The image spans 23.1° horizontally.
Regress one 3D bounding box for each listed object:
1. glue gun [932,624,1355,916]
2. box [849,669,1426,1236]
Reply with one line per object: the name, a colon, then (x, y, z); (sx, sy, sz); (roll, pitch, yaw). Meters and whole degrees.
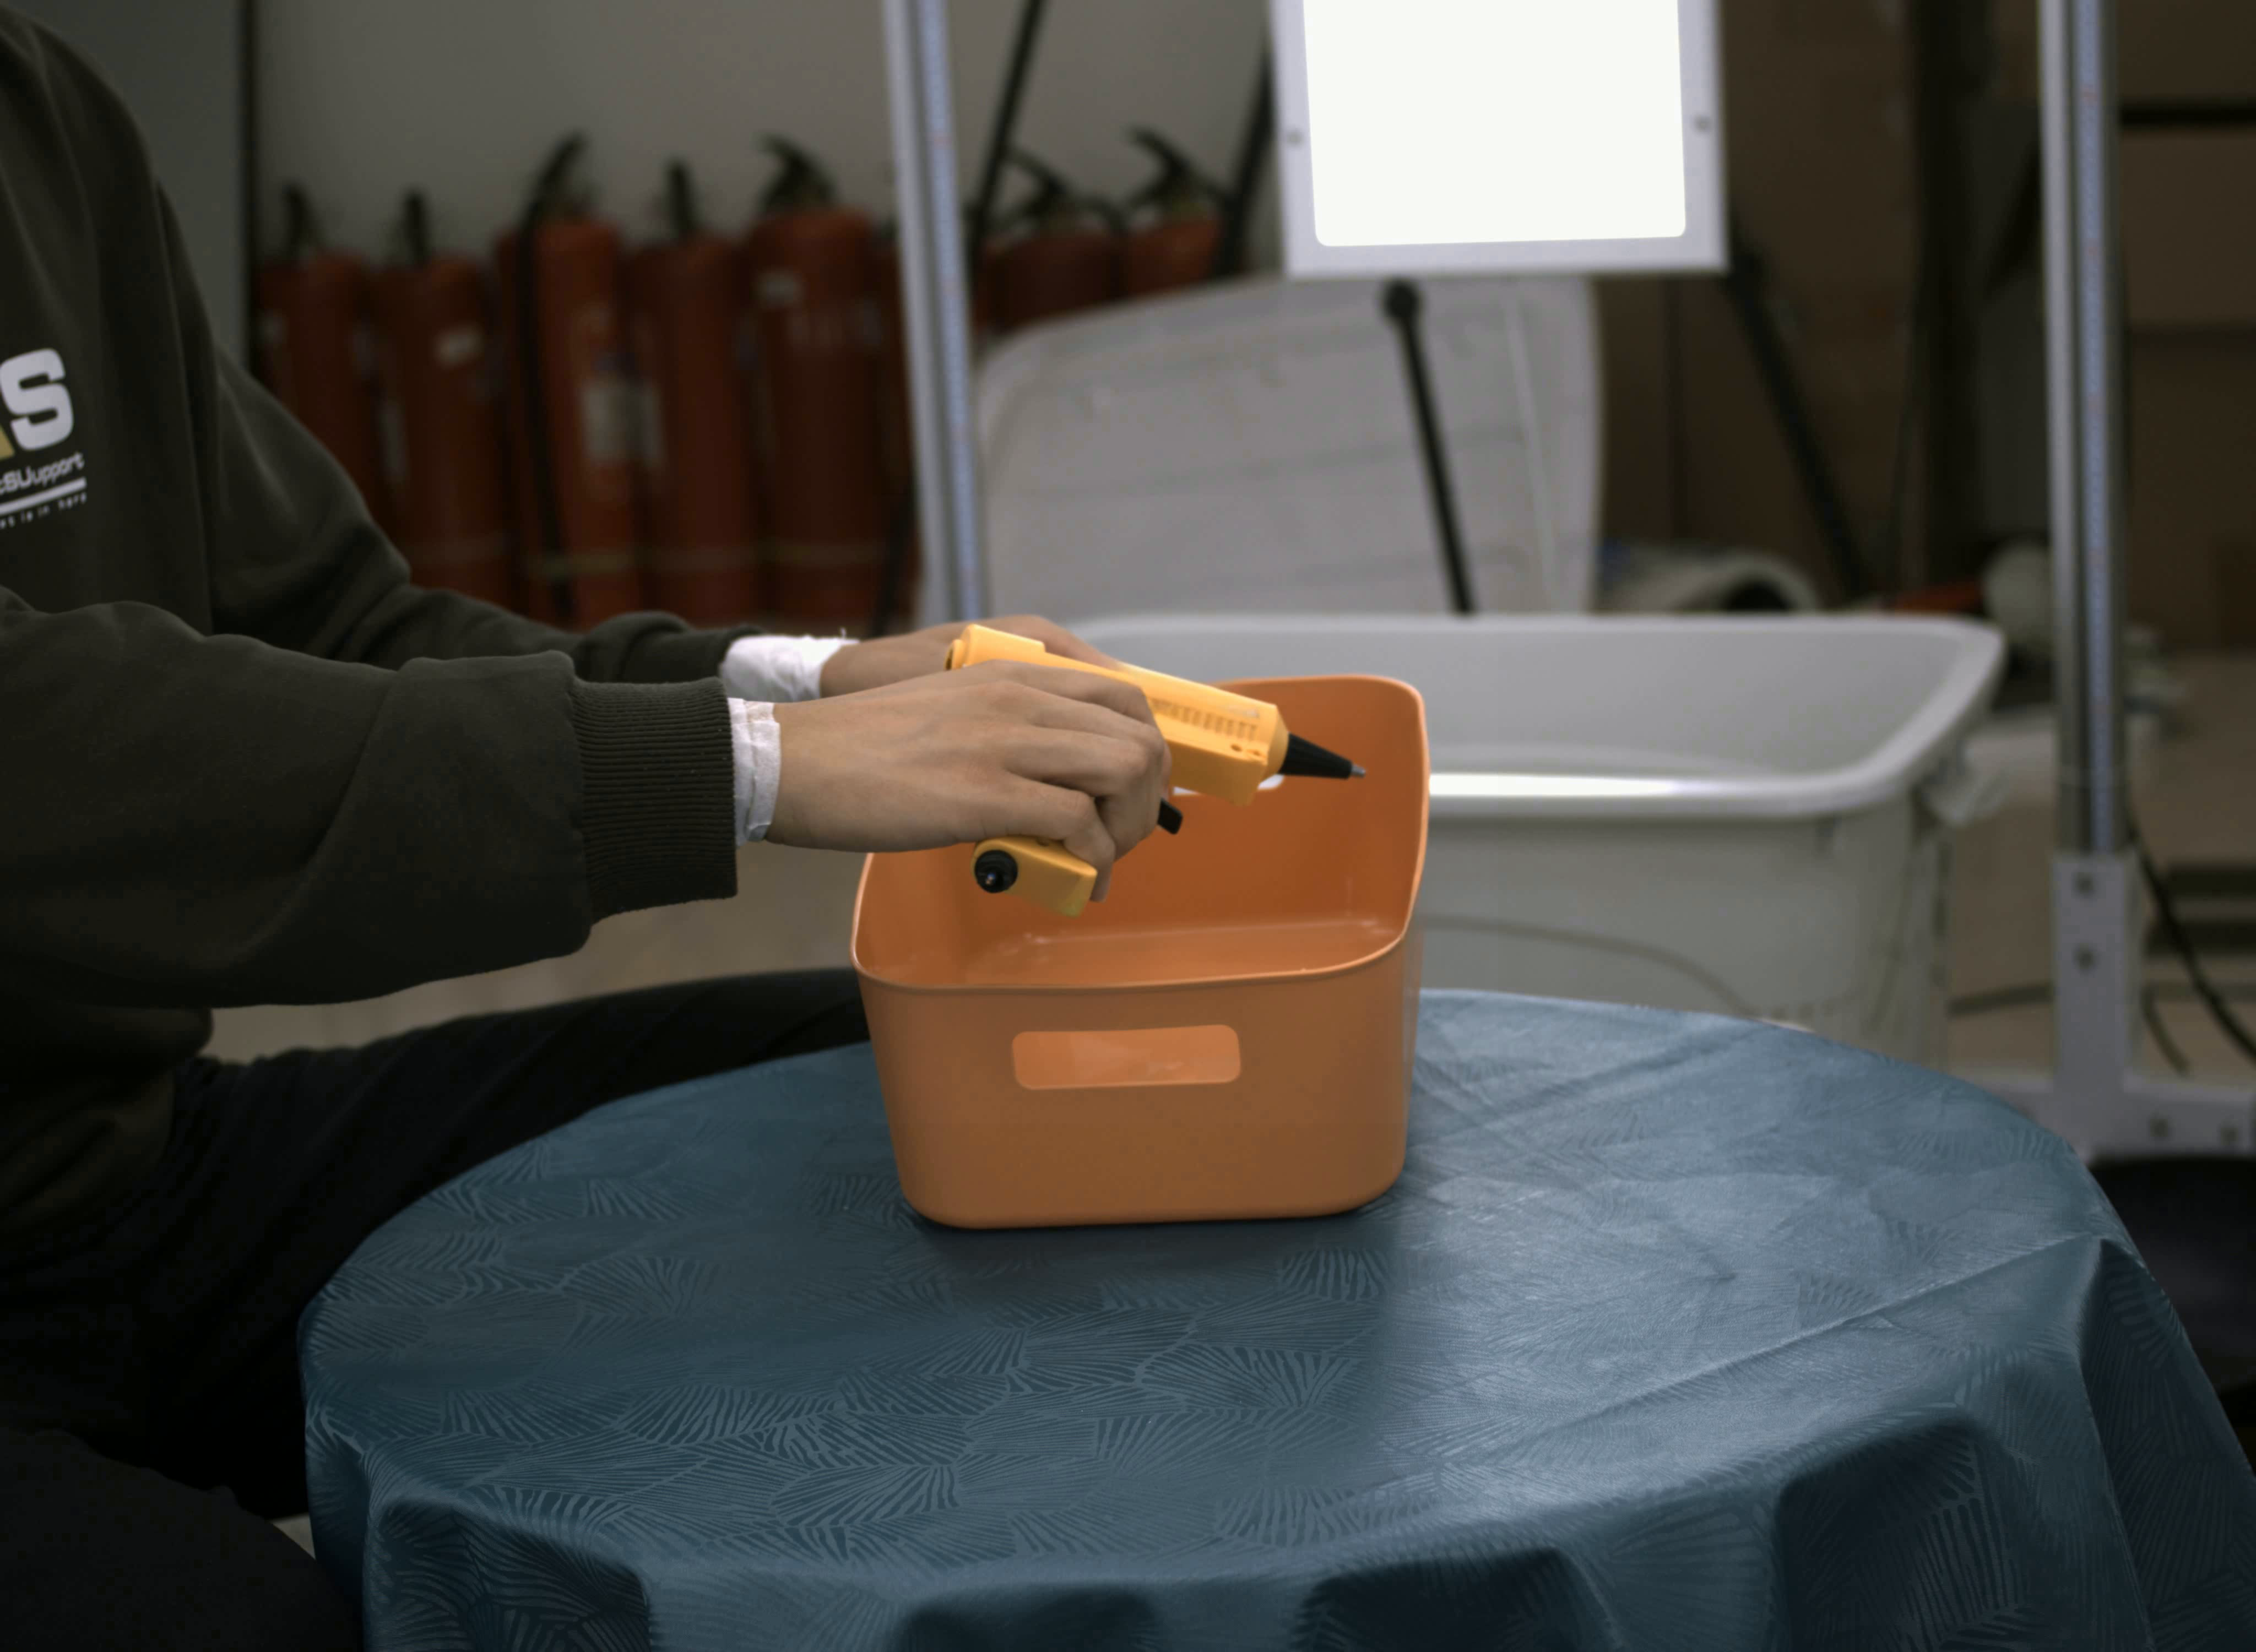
glue gun: (0.012, -0.009, 1.840); (0.149, 0.031, 0.133); (11, 35, -15)
box: (0.011, 0.045, 1.952); (0.200, 0.103, 0.271); (-4, 23, 7)
